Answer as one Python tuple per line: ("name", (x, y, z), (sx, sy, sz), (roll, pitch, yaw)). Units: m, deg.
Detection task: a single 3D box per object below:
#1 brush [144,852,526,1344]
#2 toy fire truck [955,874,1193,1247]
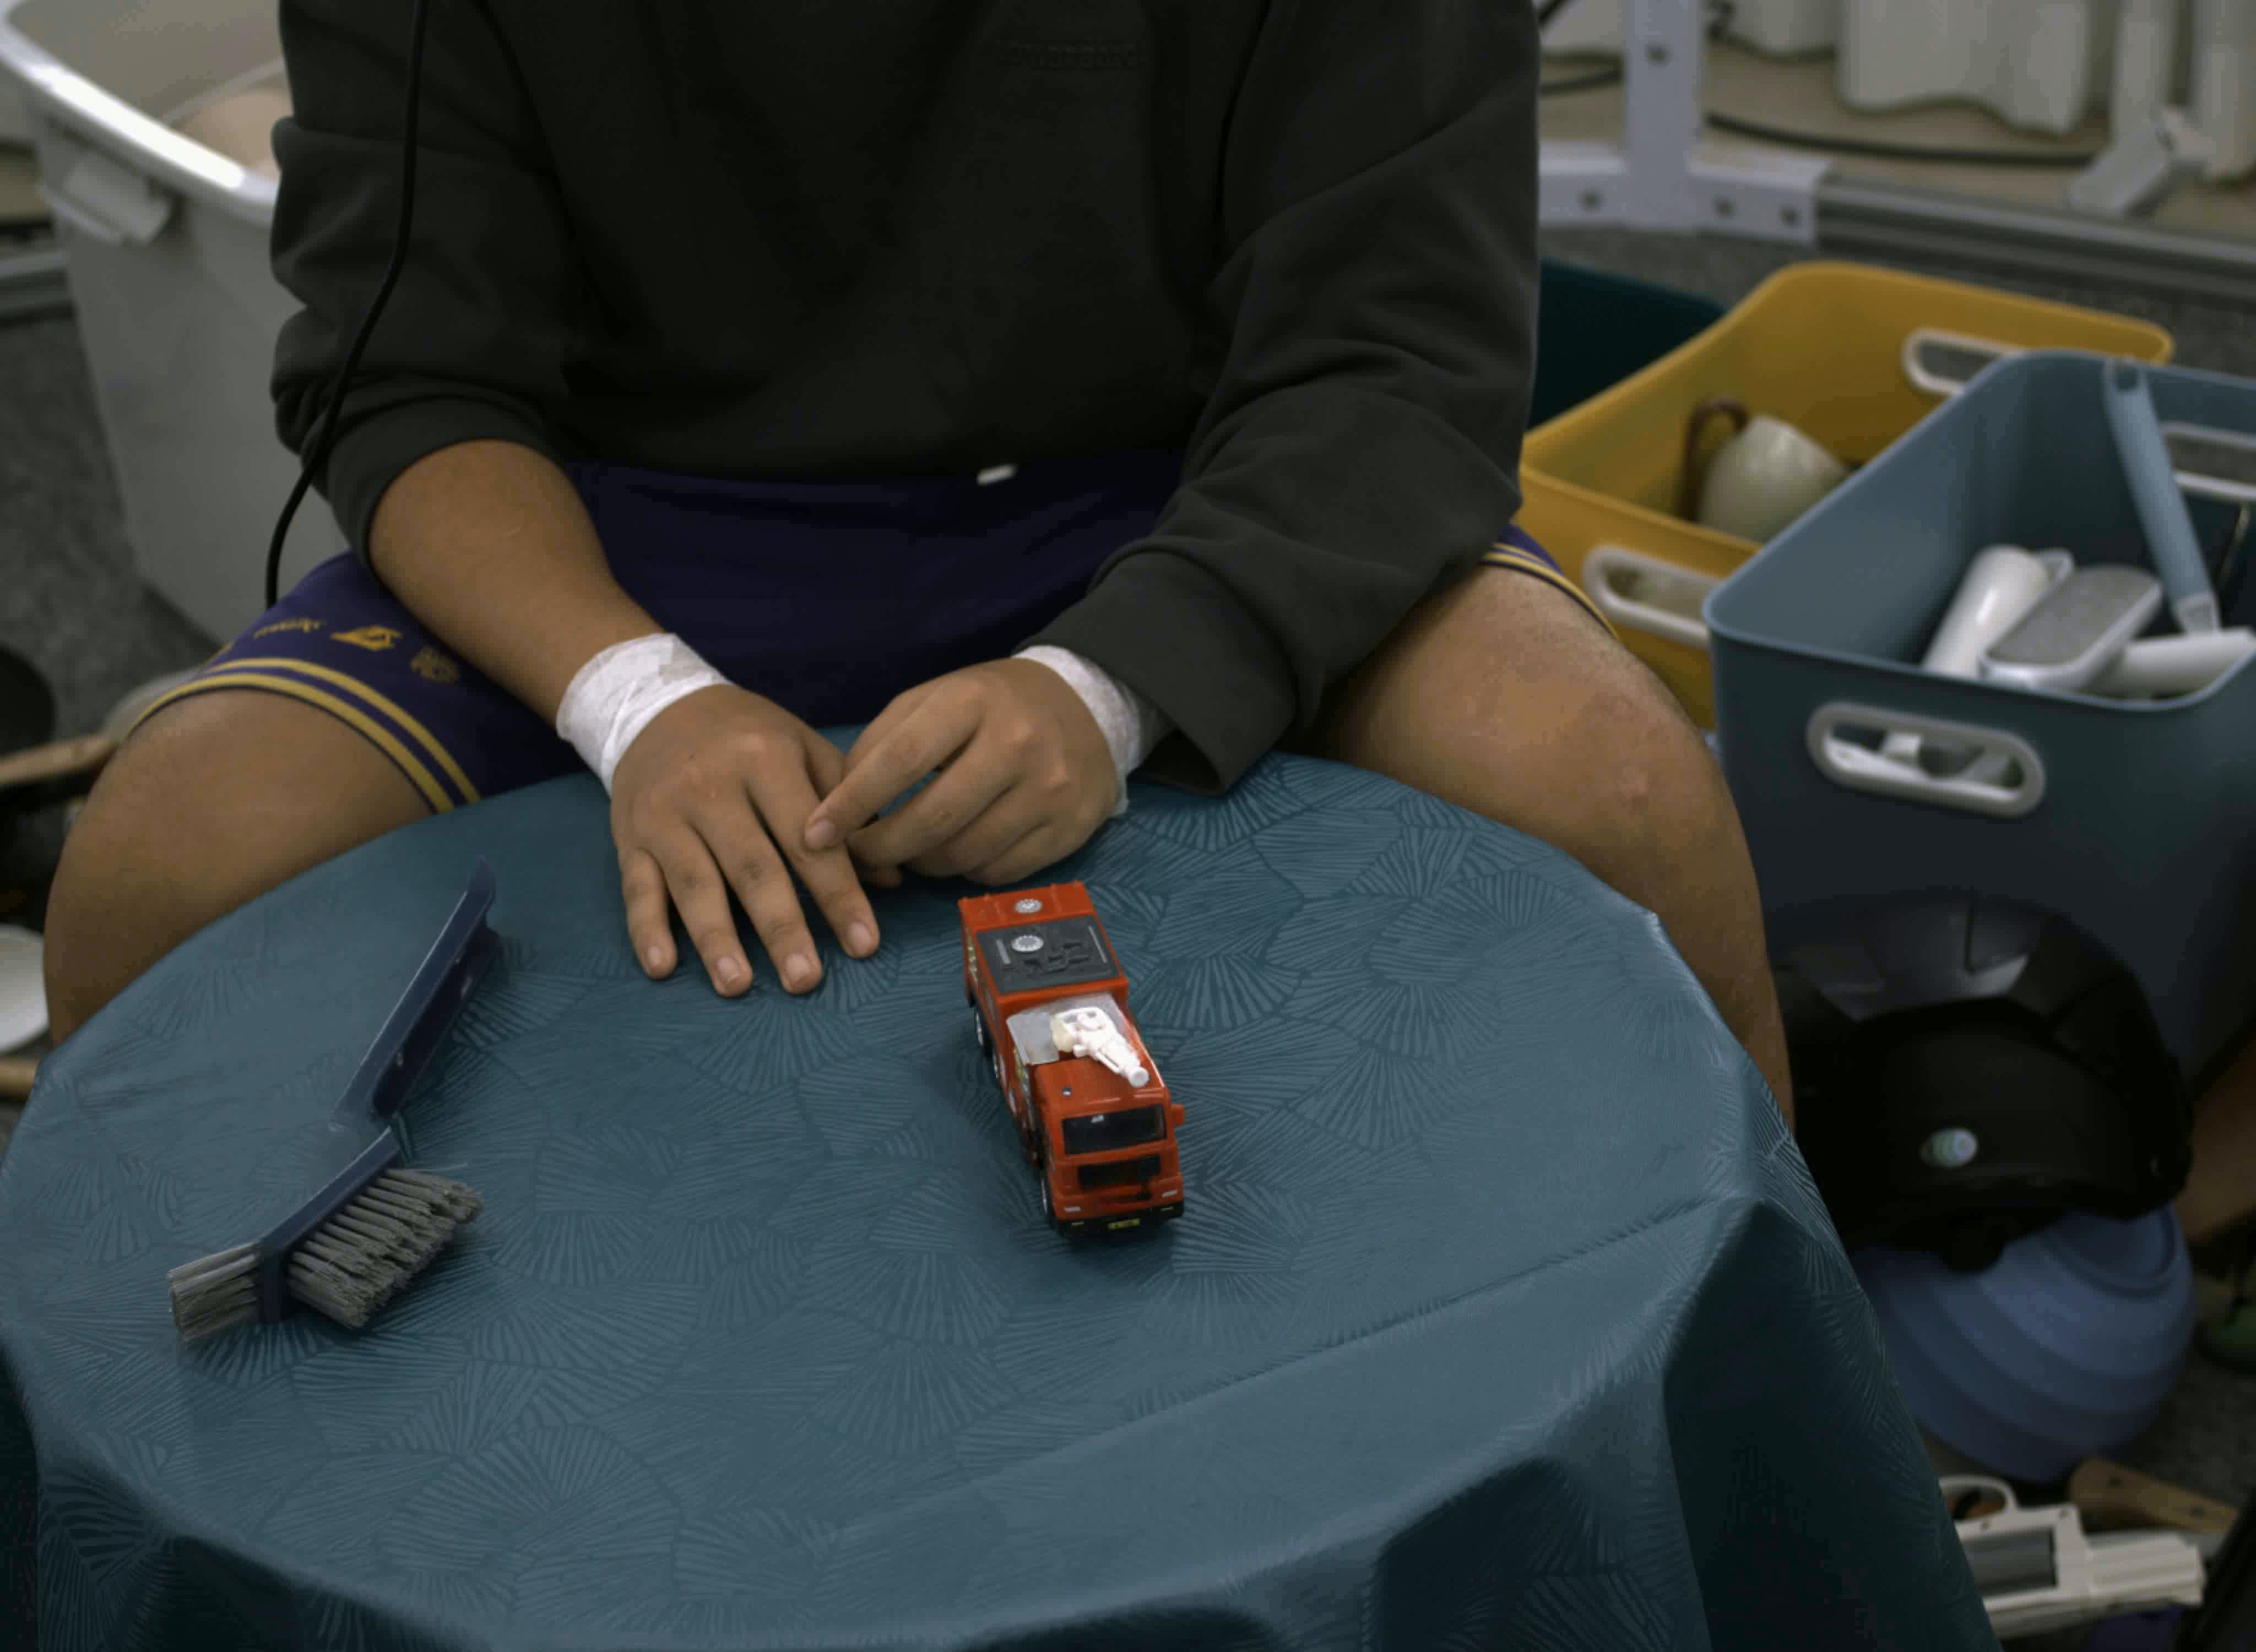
("brush", (-0.261, 0.090, 1.916), (0.095, 0.033, 0.277), (-1, 28, 5))
("toy fire truck", (-0.019, 0.077, 1.887), (0.054, 0.069, 0.170), (-9, 27, -10))
